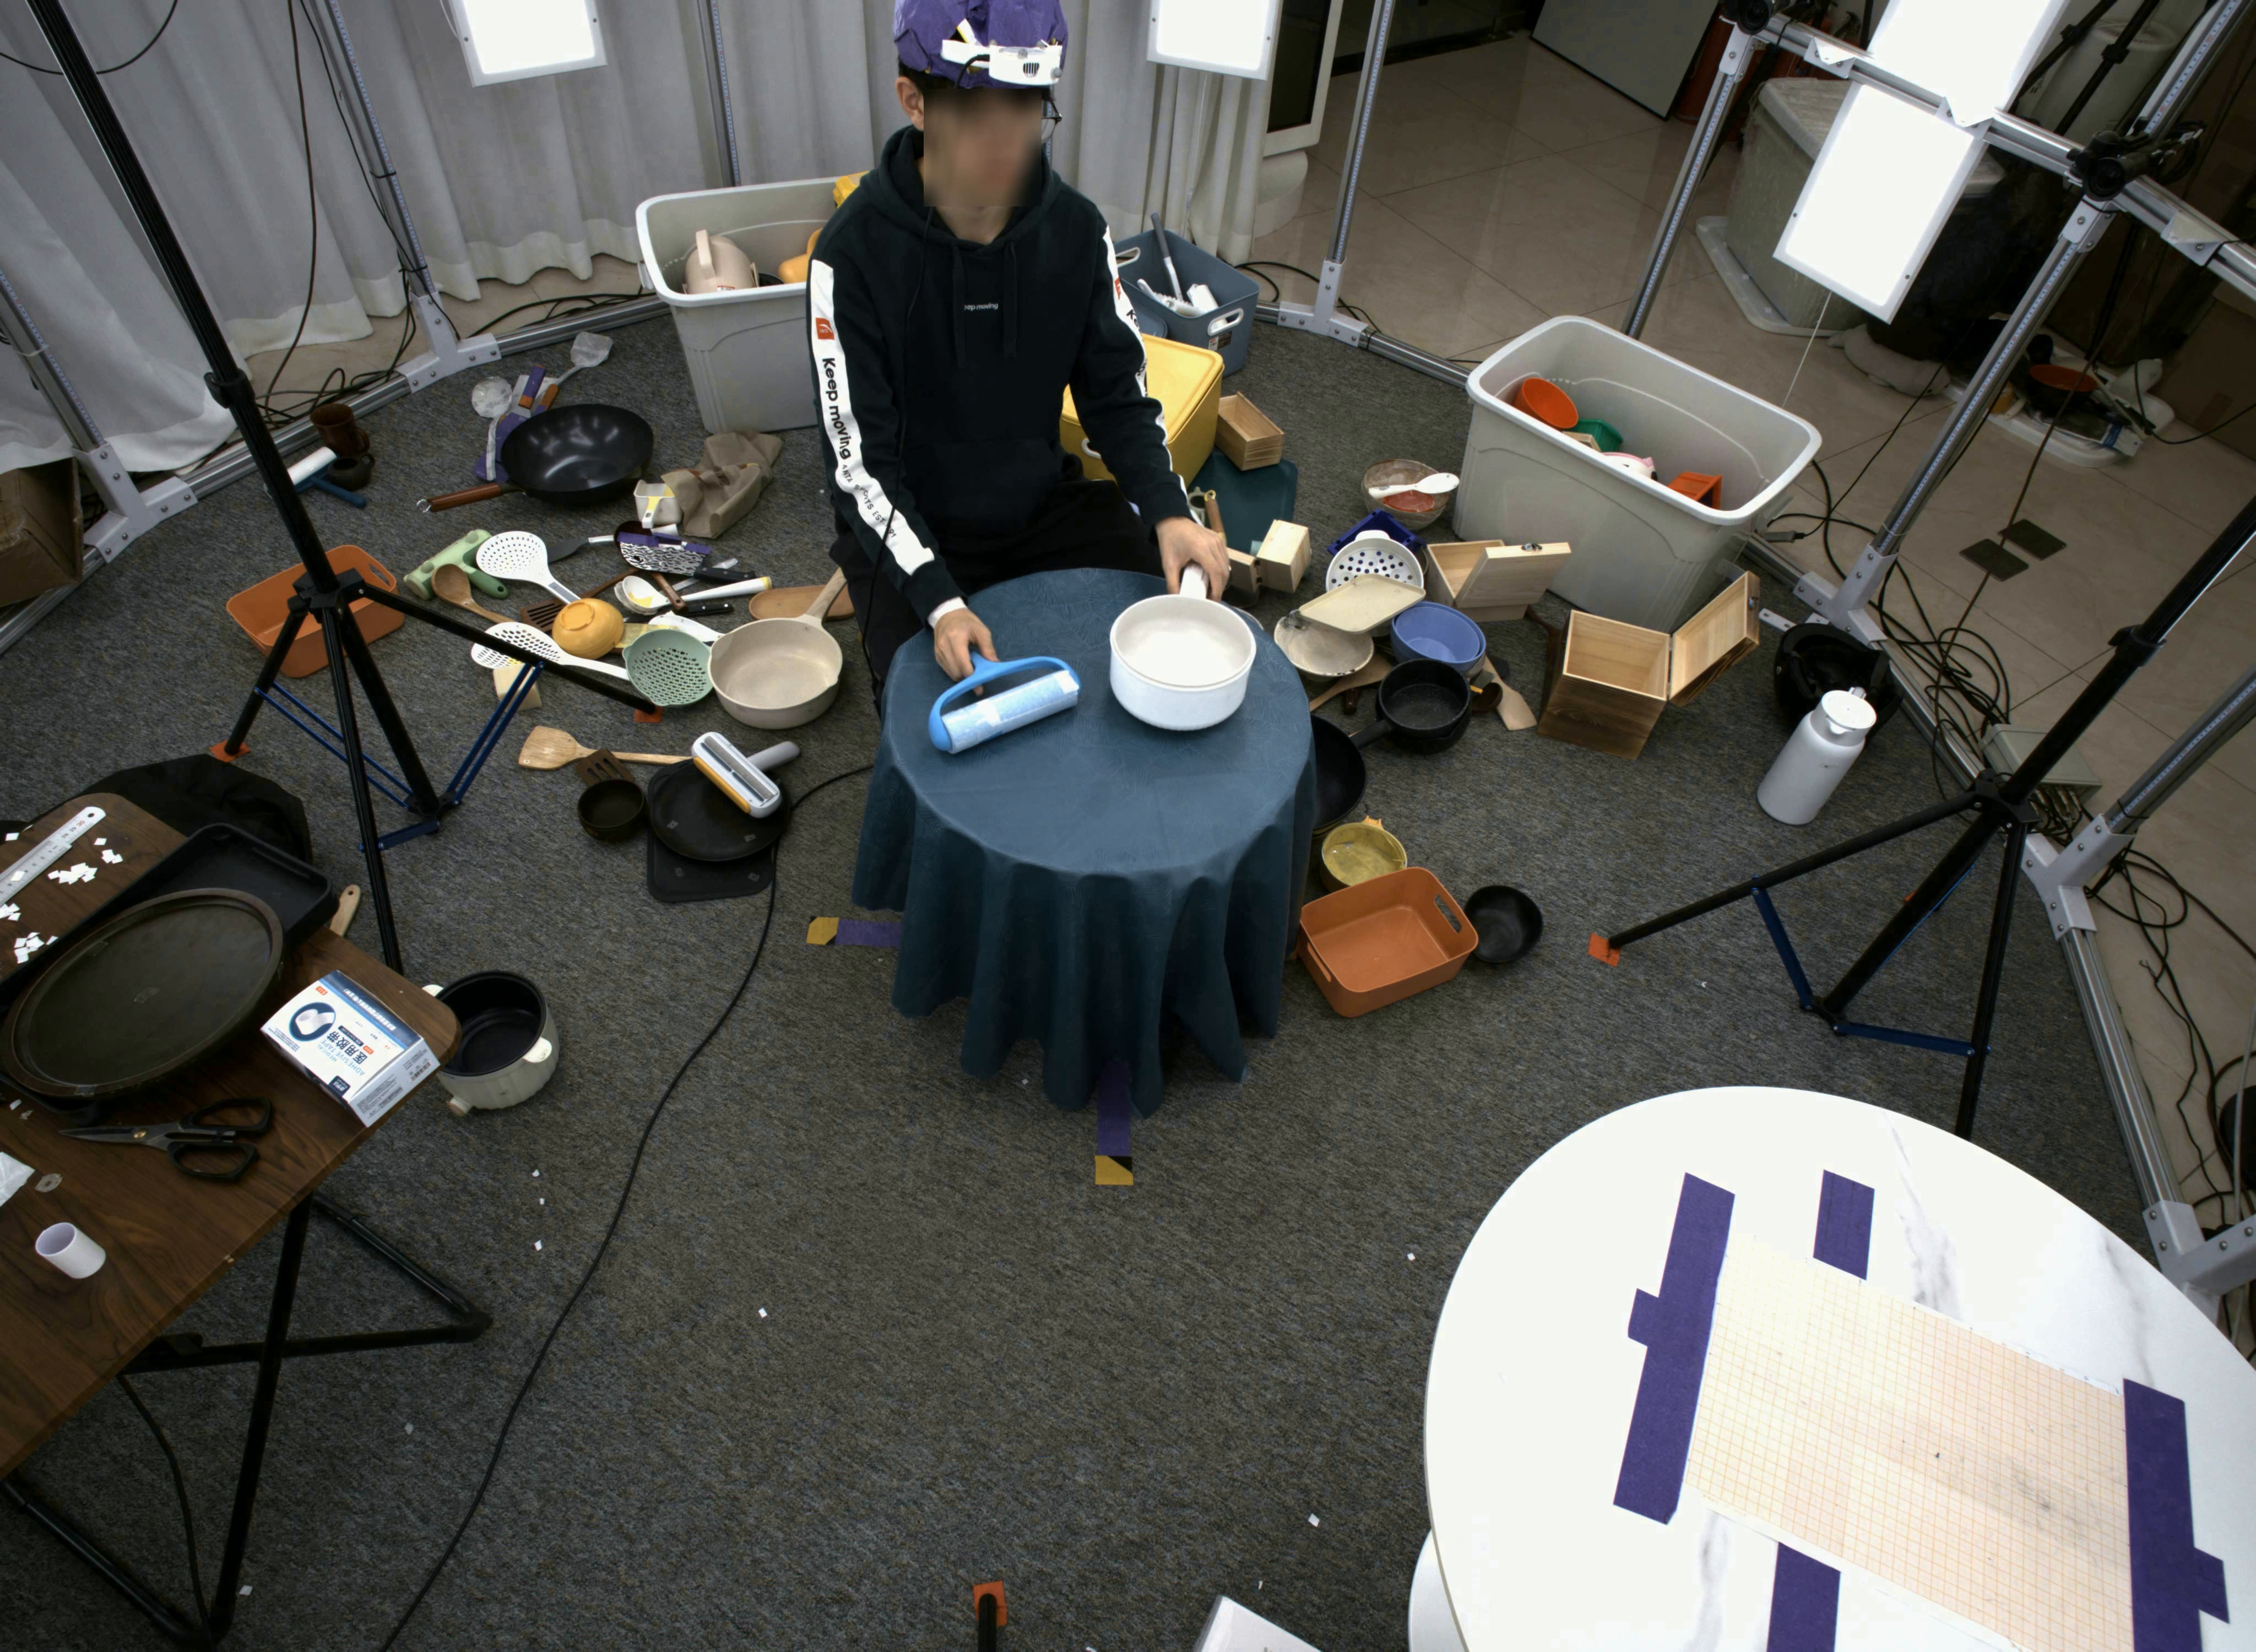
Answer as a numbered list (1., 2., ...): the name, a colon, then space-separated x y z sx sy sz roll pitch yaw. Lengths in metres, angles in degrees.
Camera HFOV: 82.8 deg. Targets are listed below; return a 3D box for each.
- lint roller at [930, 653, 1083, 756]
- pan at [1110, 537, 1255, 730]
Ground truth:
1. lint roller: -0.197 -0.197 1.789 0.230 0.066 0.184 -28 57 -23
2. pan: 0.085 -0.279 1.854 0.201 0.099 0.363 9 45 4
